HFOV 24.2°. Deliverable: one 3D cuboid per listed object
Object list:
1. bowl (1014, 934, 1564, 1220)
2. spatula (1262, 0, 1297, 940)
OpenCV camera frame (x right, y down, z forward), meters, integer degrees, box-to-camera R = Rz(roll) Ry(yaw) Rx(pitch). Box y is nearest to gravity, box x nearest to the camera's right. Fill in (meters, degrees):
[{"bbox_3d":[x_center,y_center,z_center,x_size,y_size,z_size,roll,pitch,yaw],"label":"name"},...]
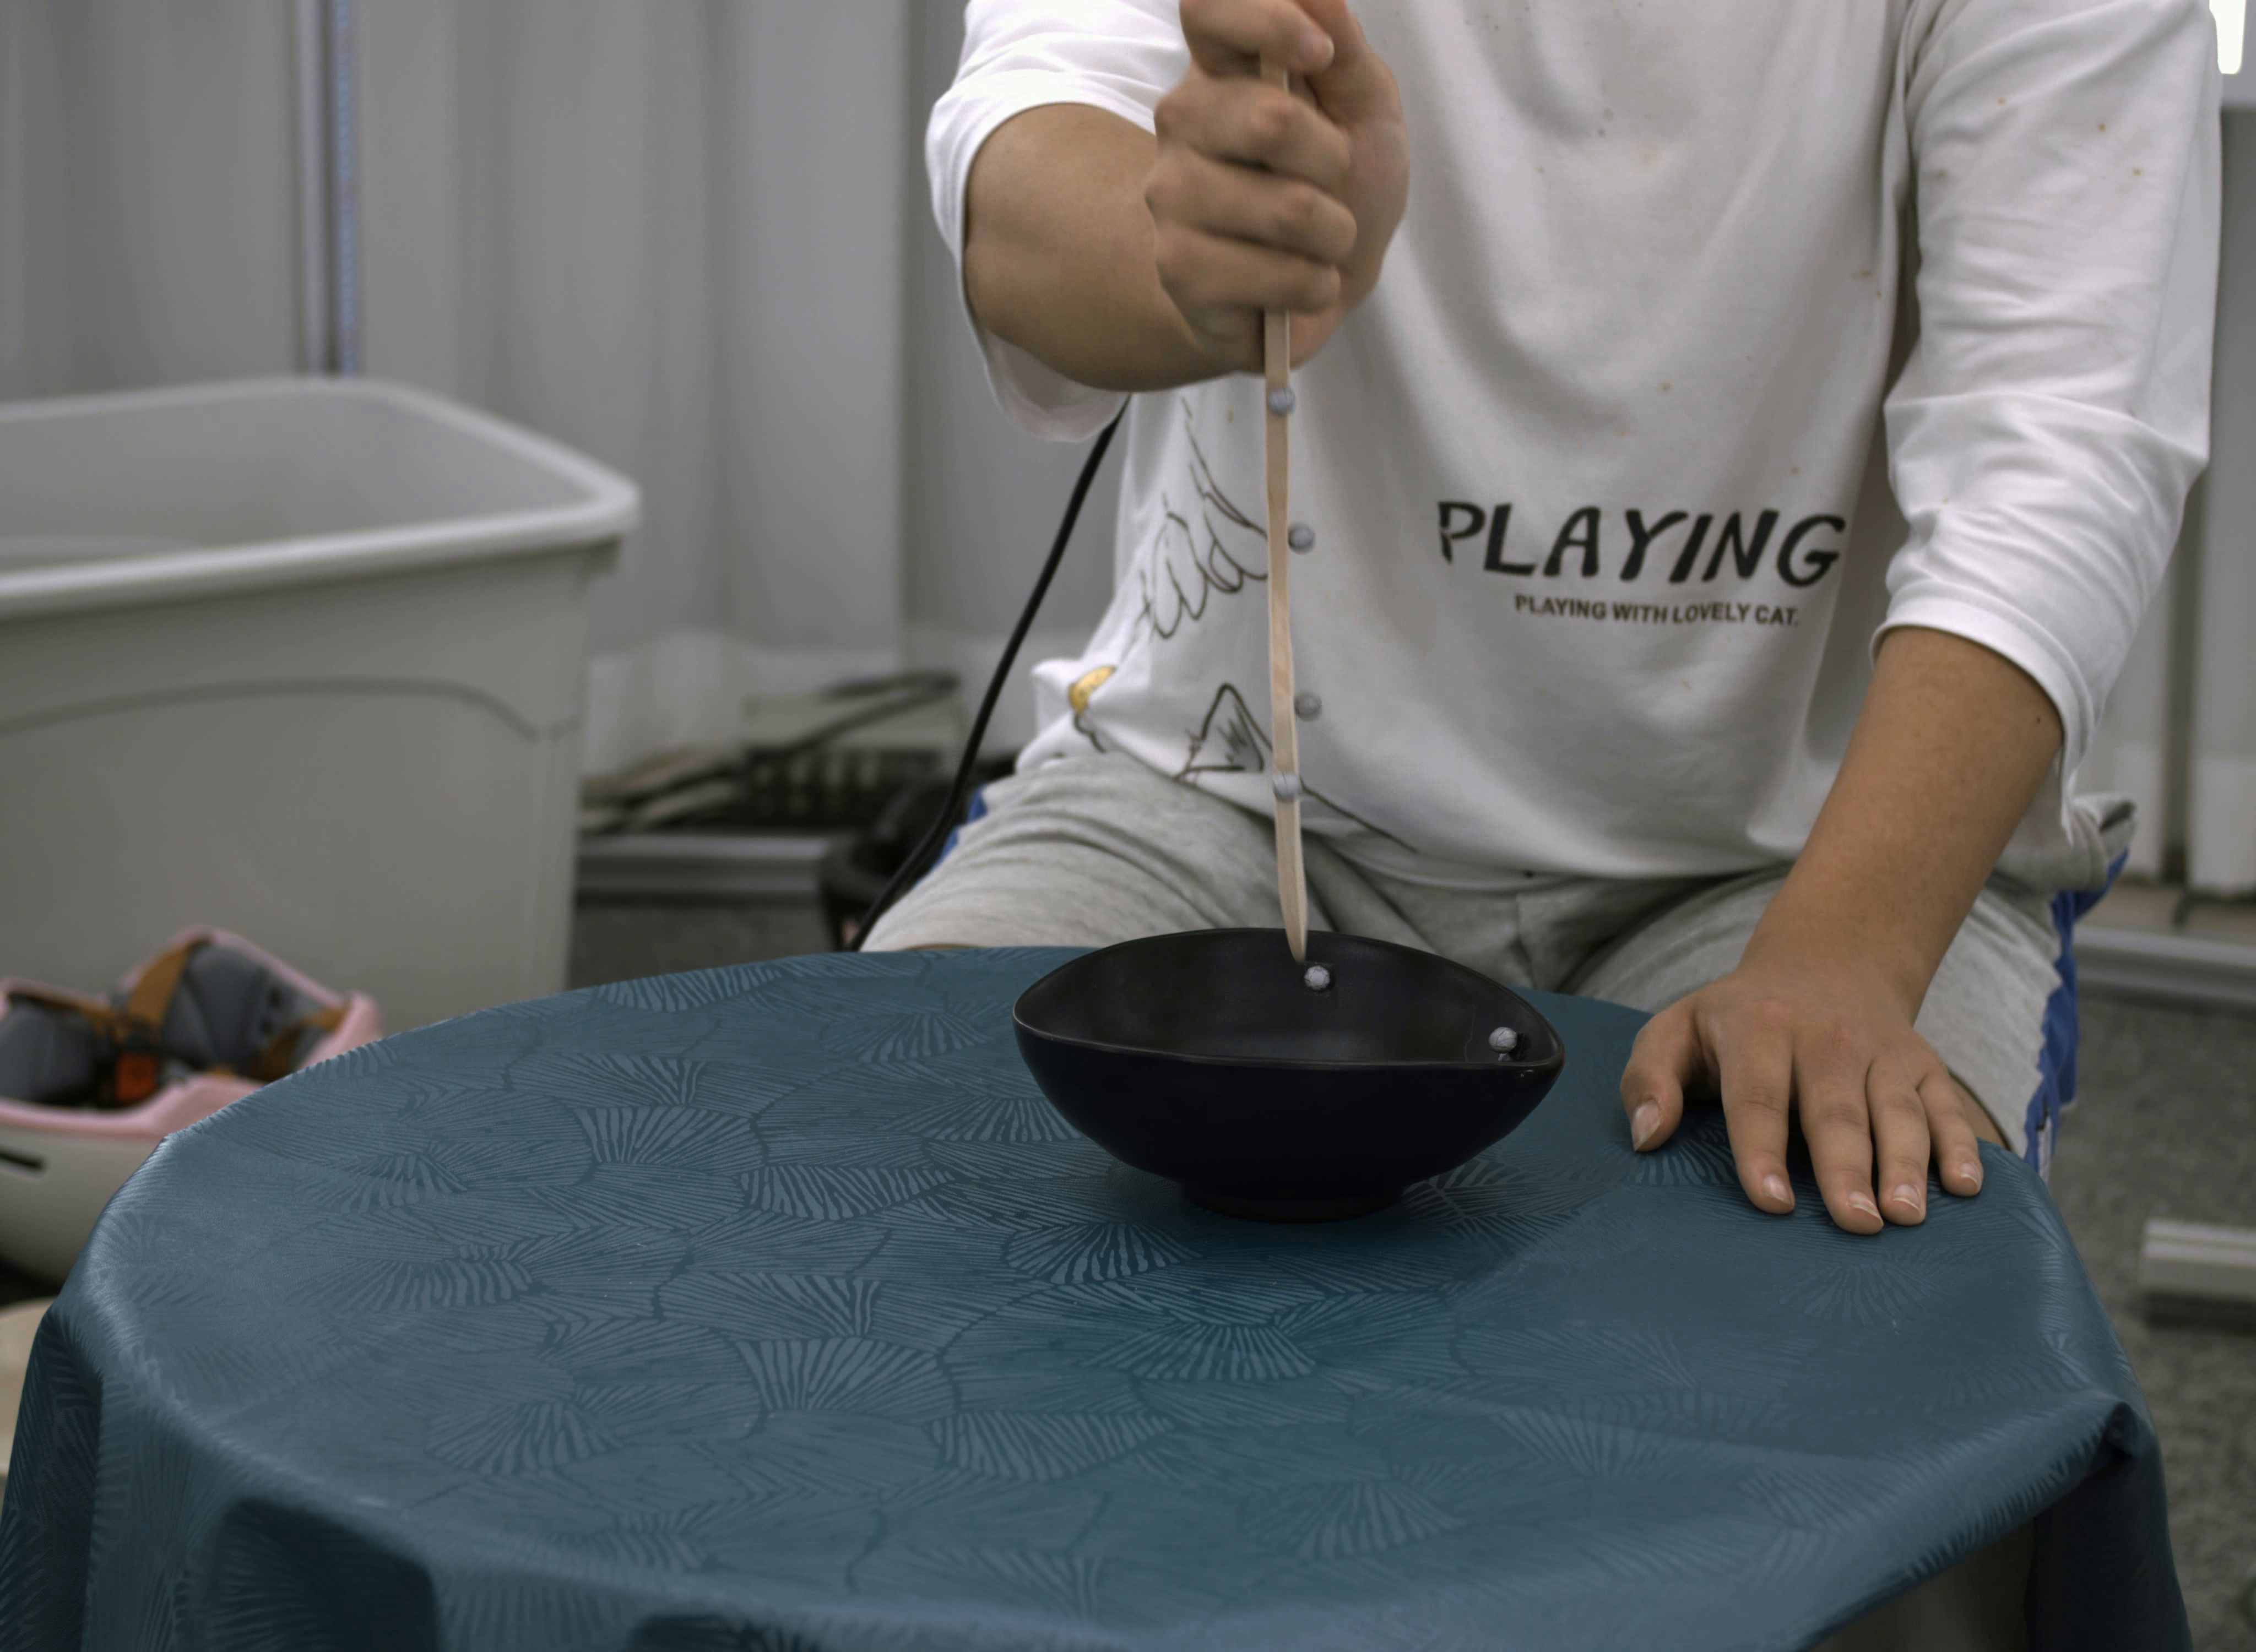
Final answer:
[{"bbox_3d":[0.049,0.081,1.627,0.170,0.067,0.136,3,15,0],"label":"bowl"},{"bbox_3d":[0.044,-0.112,1.568,0.010,0.296,0.072,0,20,2],"label":"spatula"}]
